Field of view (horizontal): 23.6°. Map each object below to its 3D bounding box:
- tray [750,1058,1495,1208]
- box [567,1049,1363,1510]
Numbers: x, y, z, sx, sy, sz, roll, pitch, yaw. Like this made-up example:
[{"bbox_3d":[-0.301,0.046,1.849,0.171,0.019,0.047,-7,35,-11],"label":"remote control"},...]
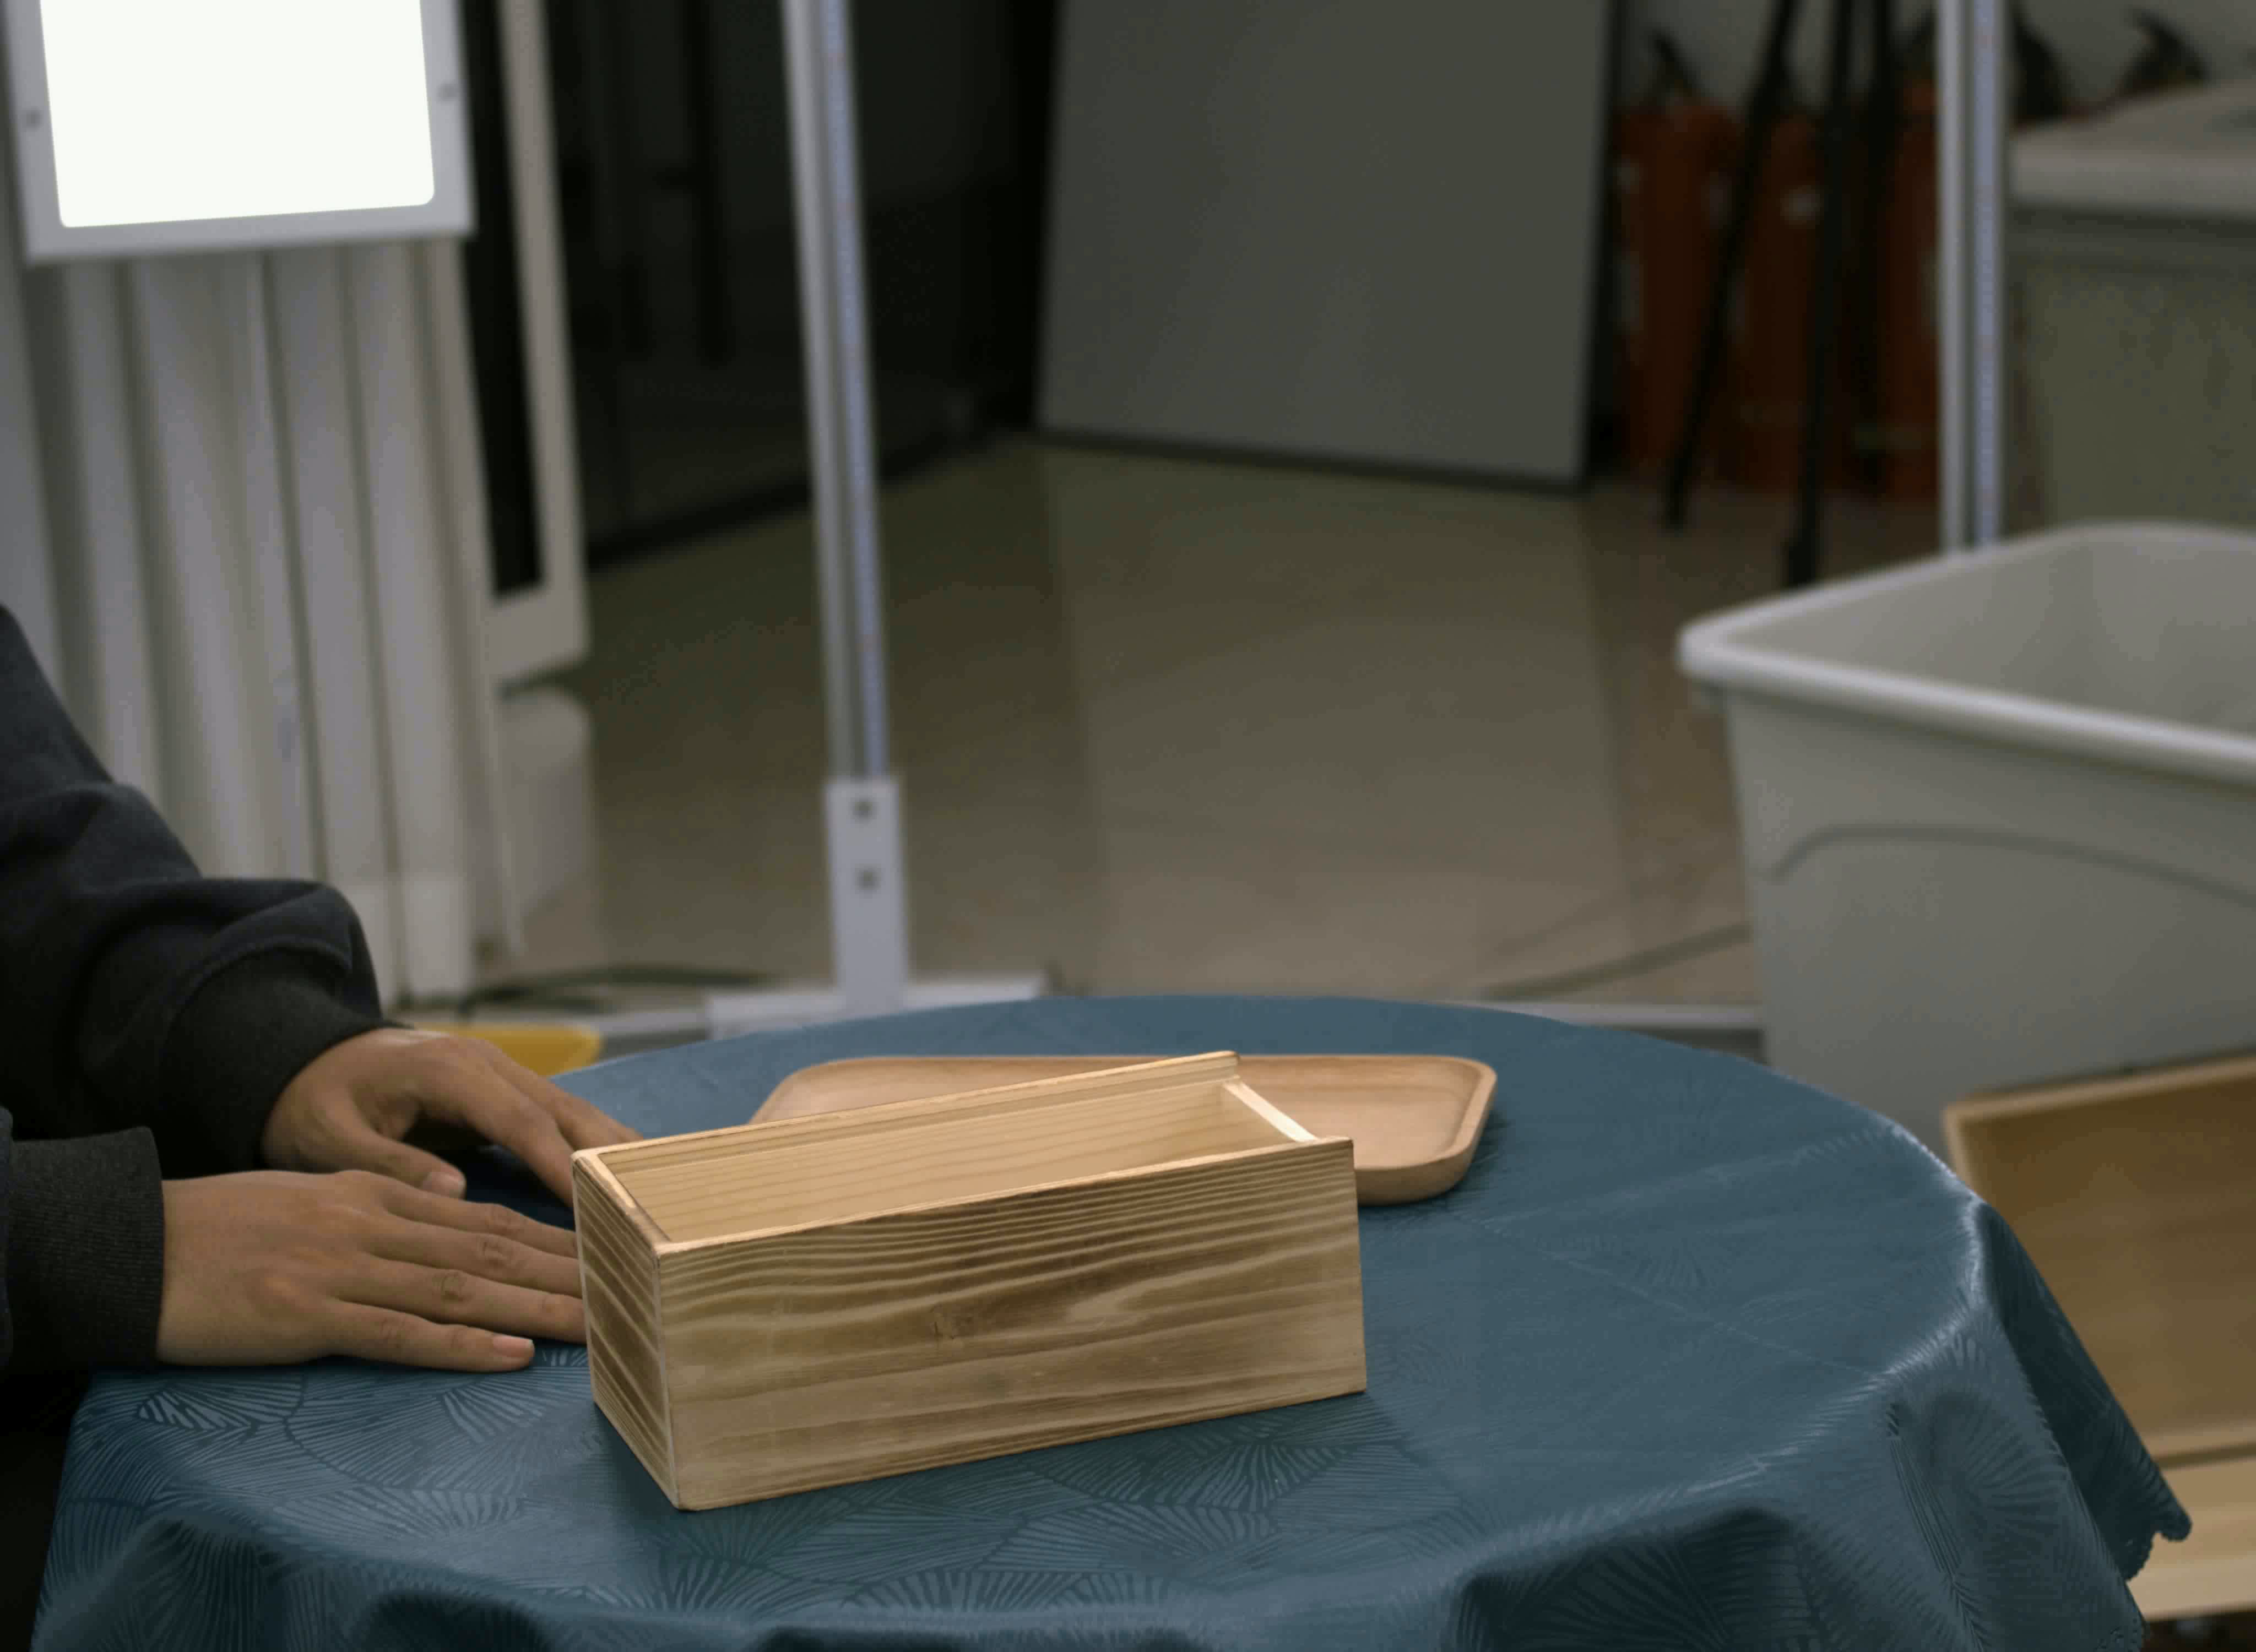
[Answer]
[{"bbox_3d":[-0.004,0.103,1.808,0.249,0.023,0.130,-1,11,13],"label":"tray"},{"bbox_3d":[-0.048,0.130,1.578,0.207,0.081,0.108,-8,14,-16],"label":"box"}]
